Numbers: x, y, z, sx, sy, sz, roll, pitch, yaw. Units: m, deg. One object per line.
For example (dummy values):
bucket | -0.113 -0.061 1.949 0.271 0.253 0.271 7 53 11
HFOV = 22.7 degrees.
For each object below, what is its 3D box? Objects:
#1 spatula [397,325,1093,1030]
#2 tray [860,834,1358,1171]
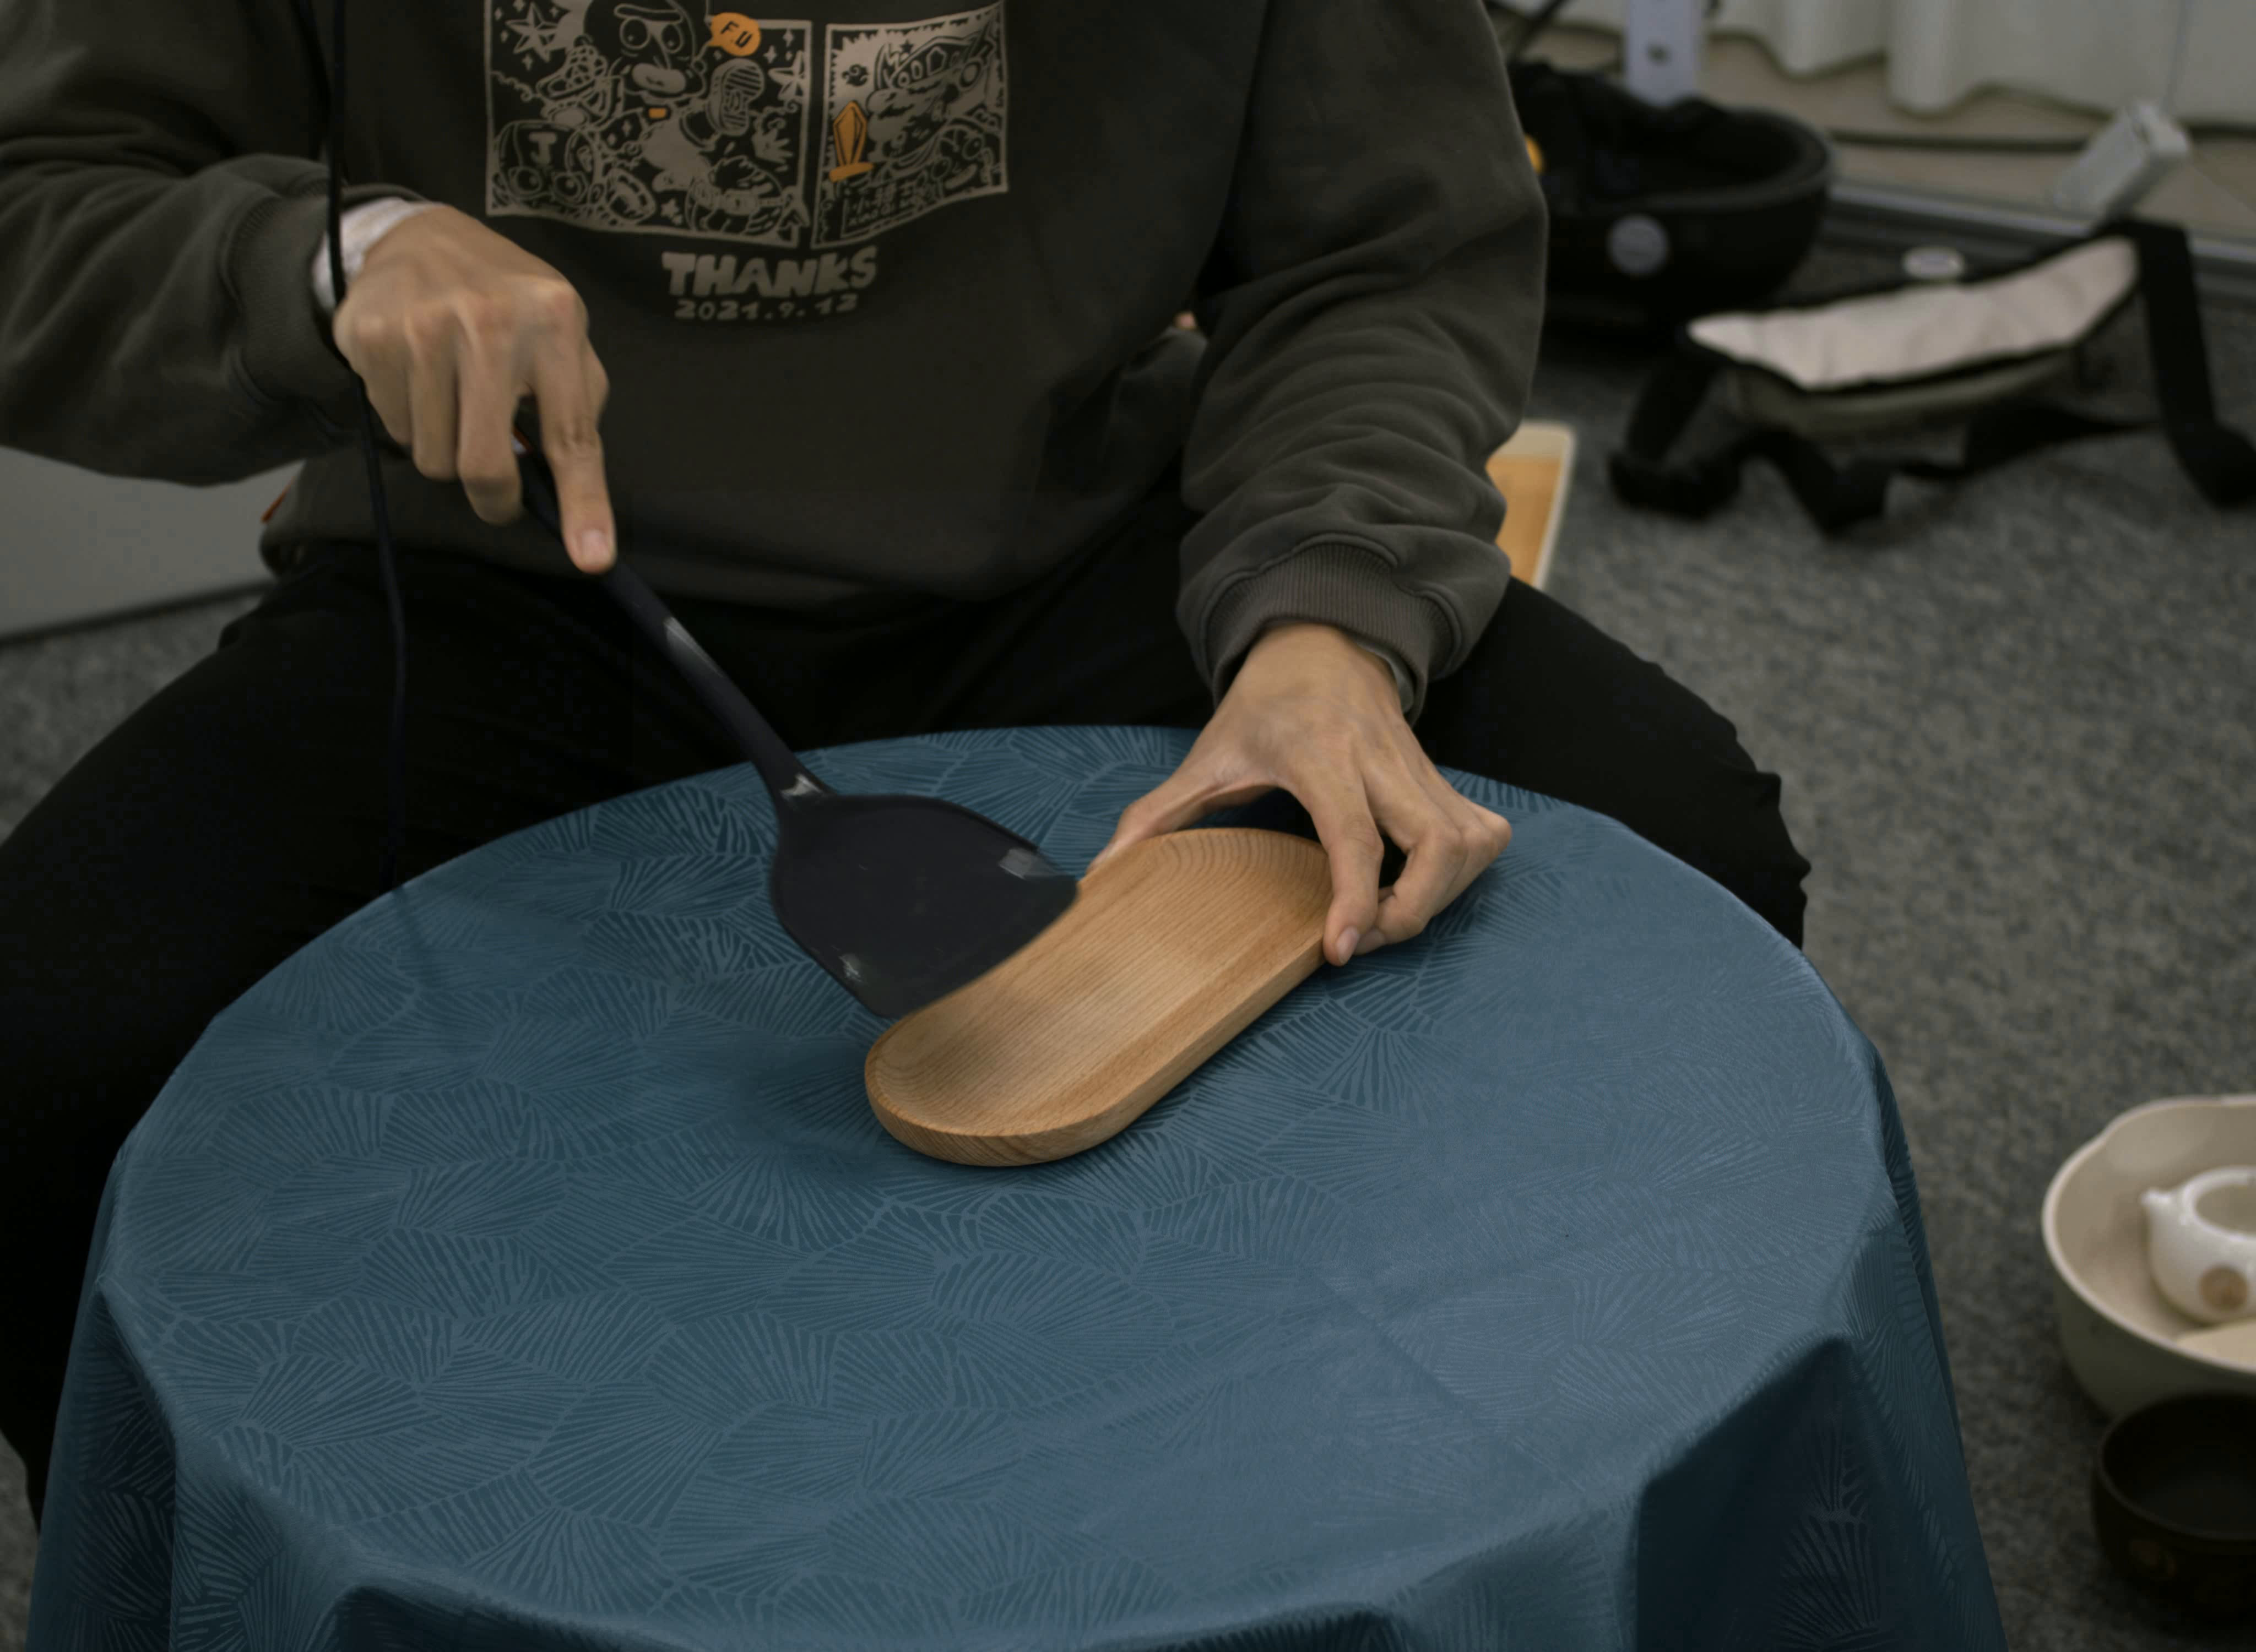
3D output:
spatula | -0.148 -0.061 1.941 0.101 0.039 0.327 -31 74 -34
tray | -0.004 0.060 1.961 0.101 0.020 0.235 13 33 31
